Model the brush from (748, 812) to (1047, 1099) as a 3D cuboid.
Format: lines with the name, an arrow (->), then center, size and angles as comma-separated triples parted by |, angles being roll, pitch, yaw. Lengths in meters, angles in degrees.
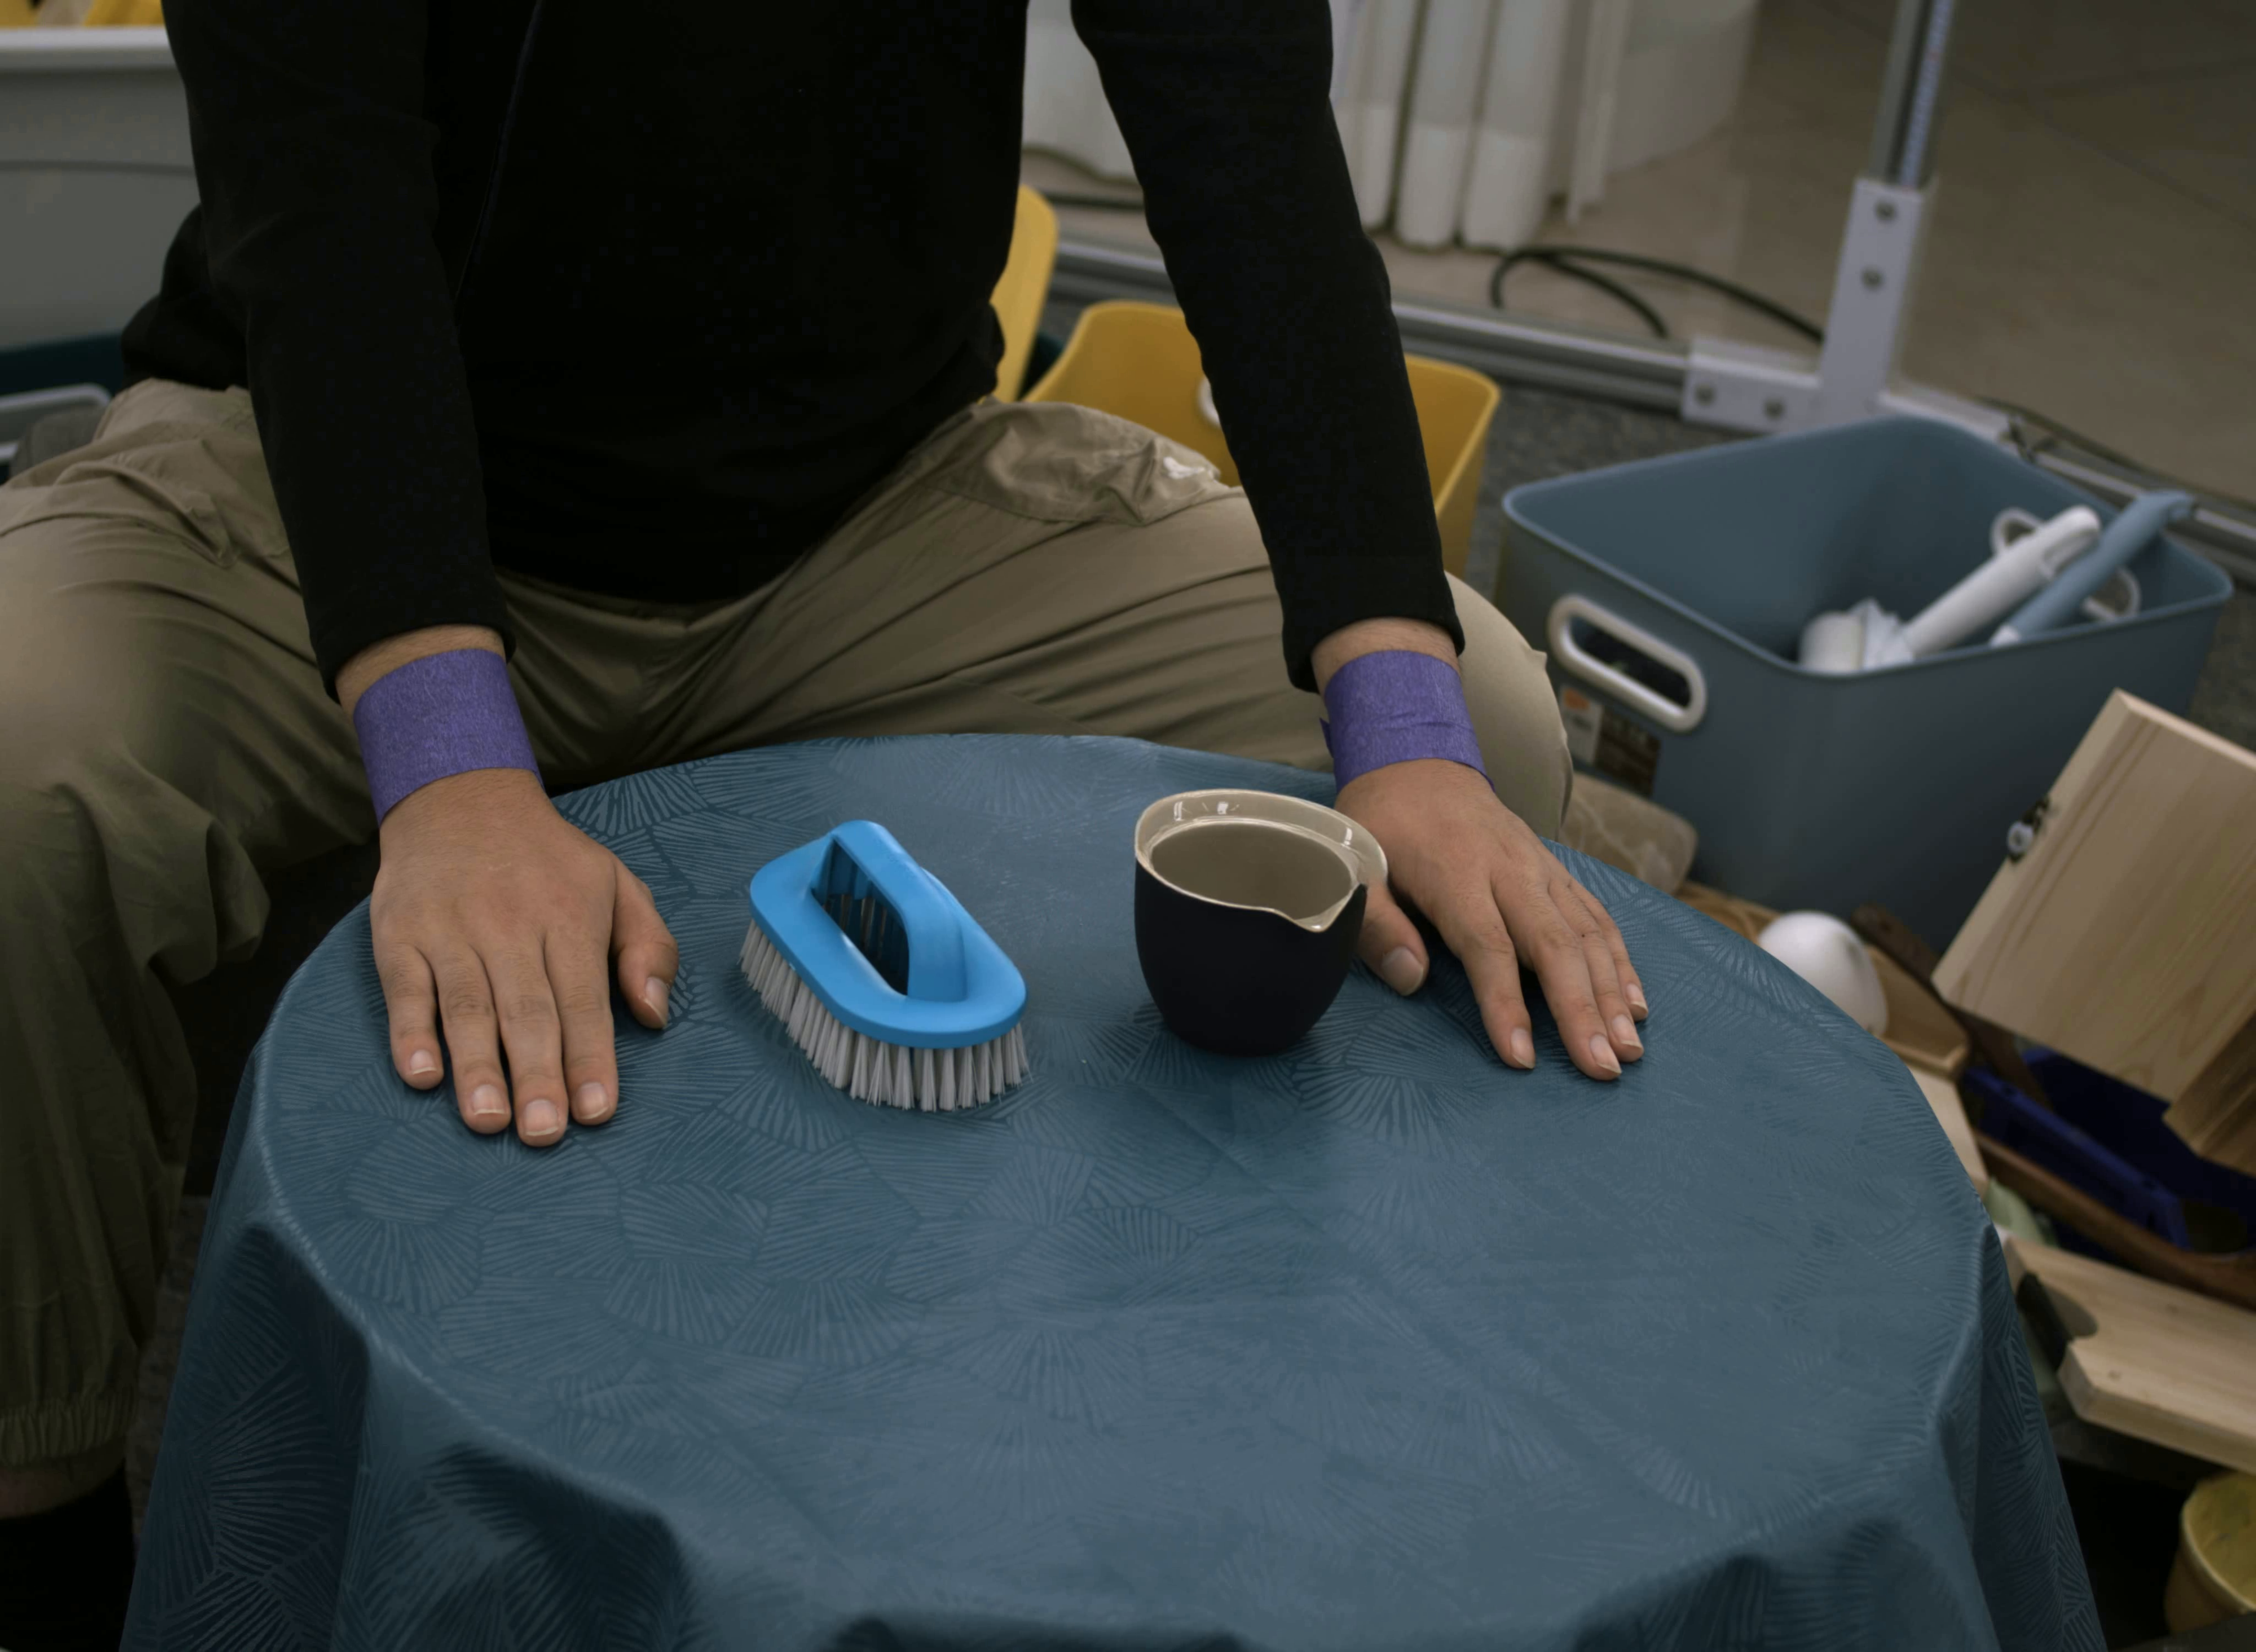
brush -> -0.083, 0.037, 1.880 | 0.084, 0.063, 0.143 | -11, 30, -22

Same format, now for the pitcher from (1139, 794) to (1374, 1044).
pitcher -> 0.045, 0.037, 1.897 | 0.083, 0.071, 0.097 | -1, 29, -18
